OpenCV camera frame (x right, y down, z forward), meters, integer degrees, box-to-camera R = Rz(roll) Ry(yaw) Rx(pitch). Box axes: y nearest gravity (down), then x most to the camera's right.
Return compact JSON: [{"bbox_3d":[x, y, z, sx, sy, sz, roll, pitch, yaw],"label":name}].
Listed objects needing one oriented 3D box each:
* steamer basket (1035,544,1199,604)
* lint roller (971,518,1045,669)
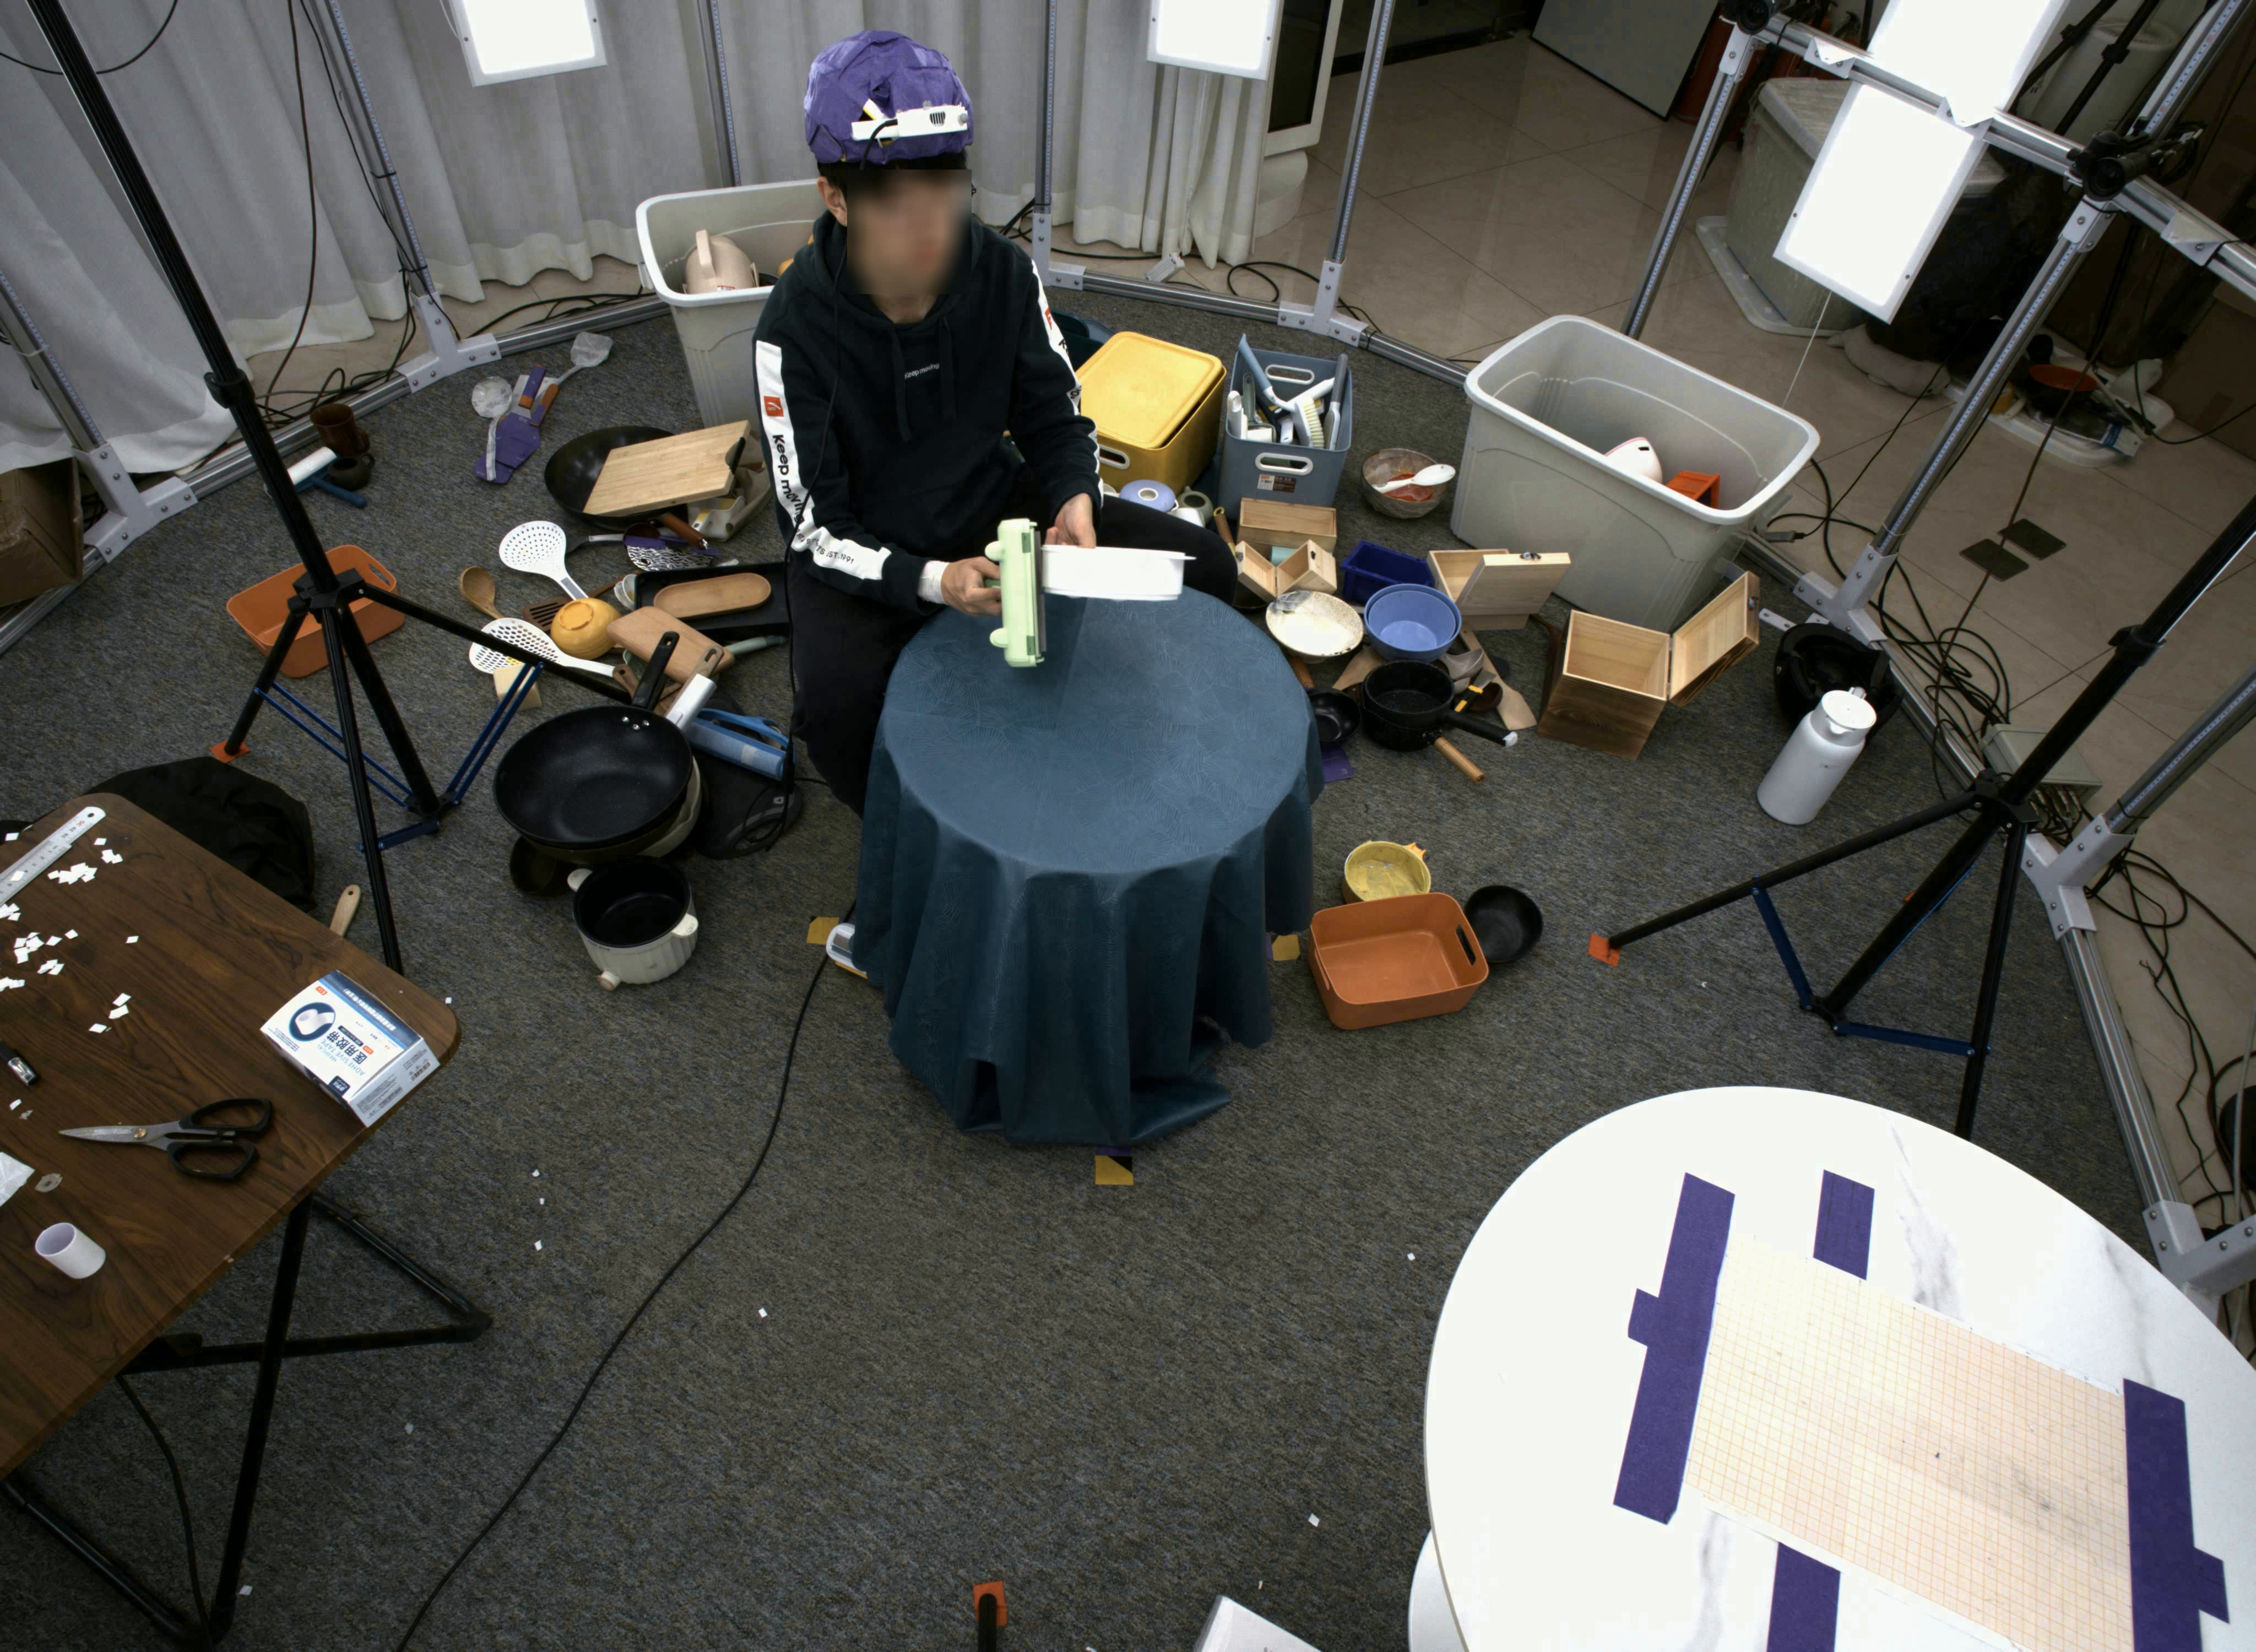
[{"bbox_3d":[-0.019,-0.344,1.758,0.231,0.068,0.203,9,15,19],"label":"steamer basket"},{"bbox_3d":[-0.186,-0.321,1.772,0.082,0.196,0.185,-12,16,-38],"label":"lint roller"}]
